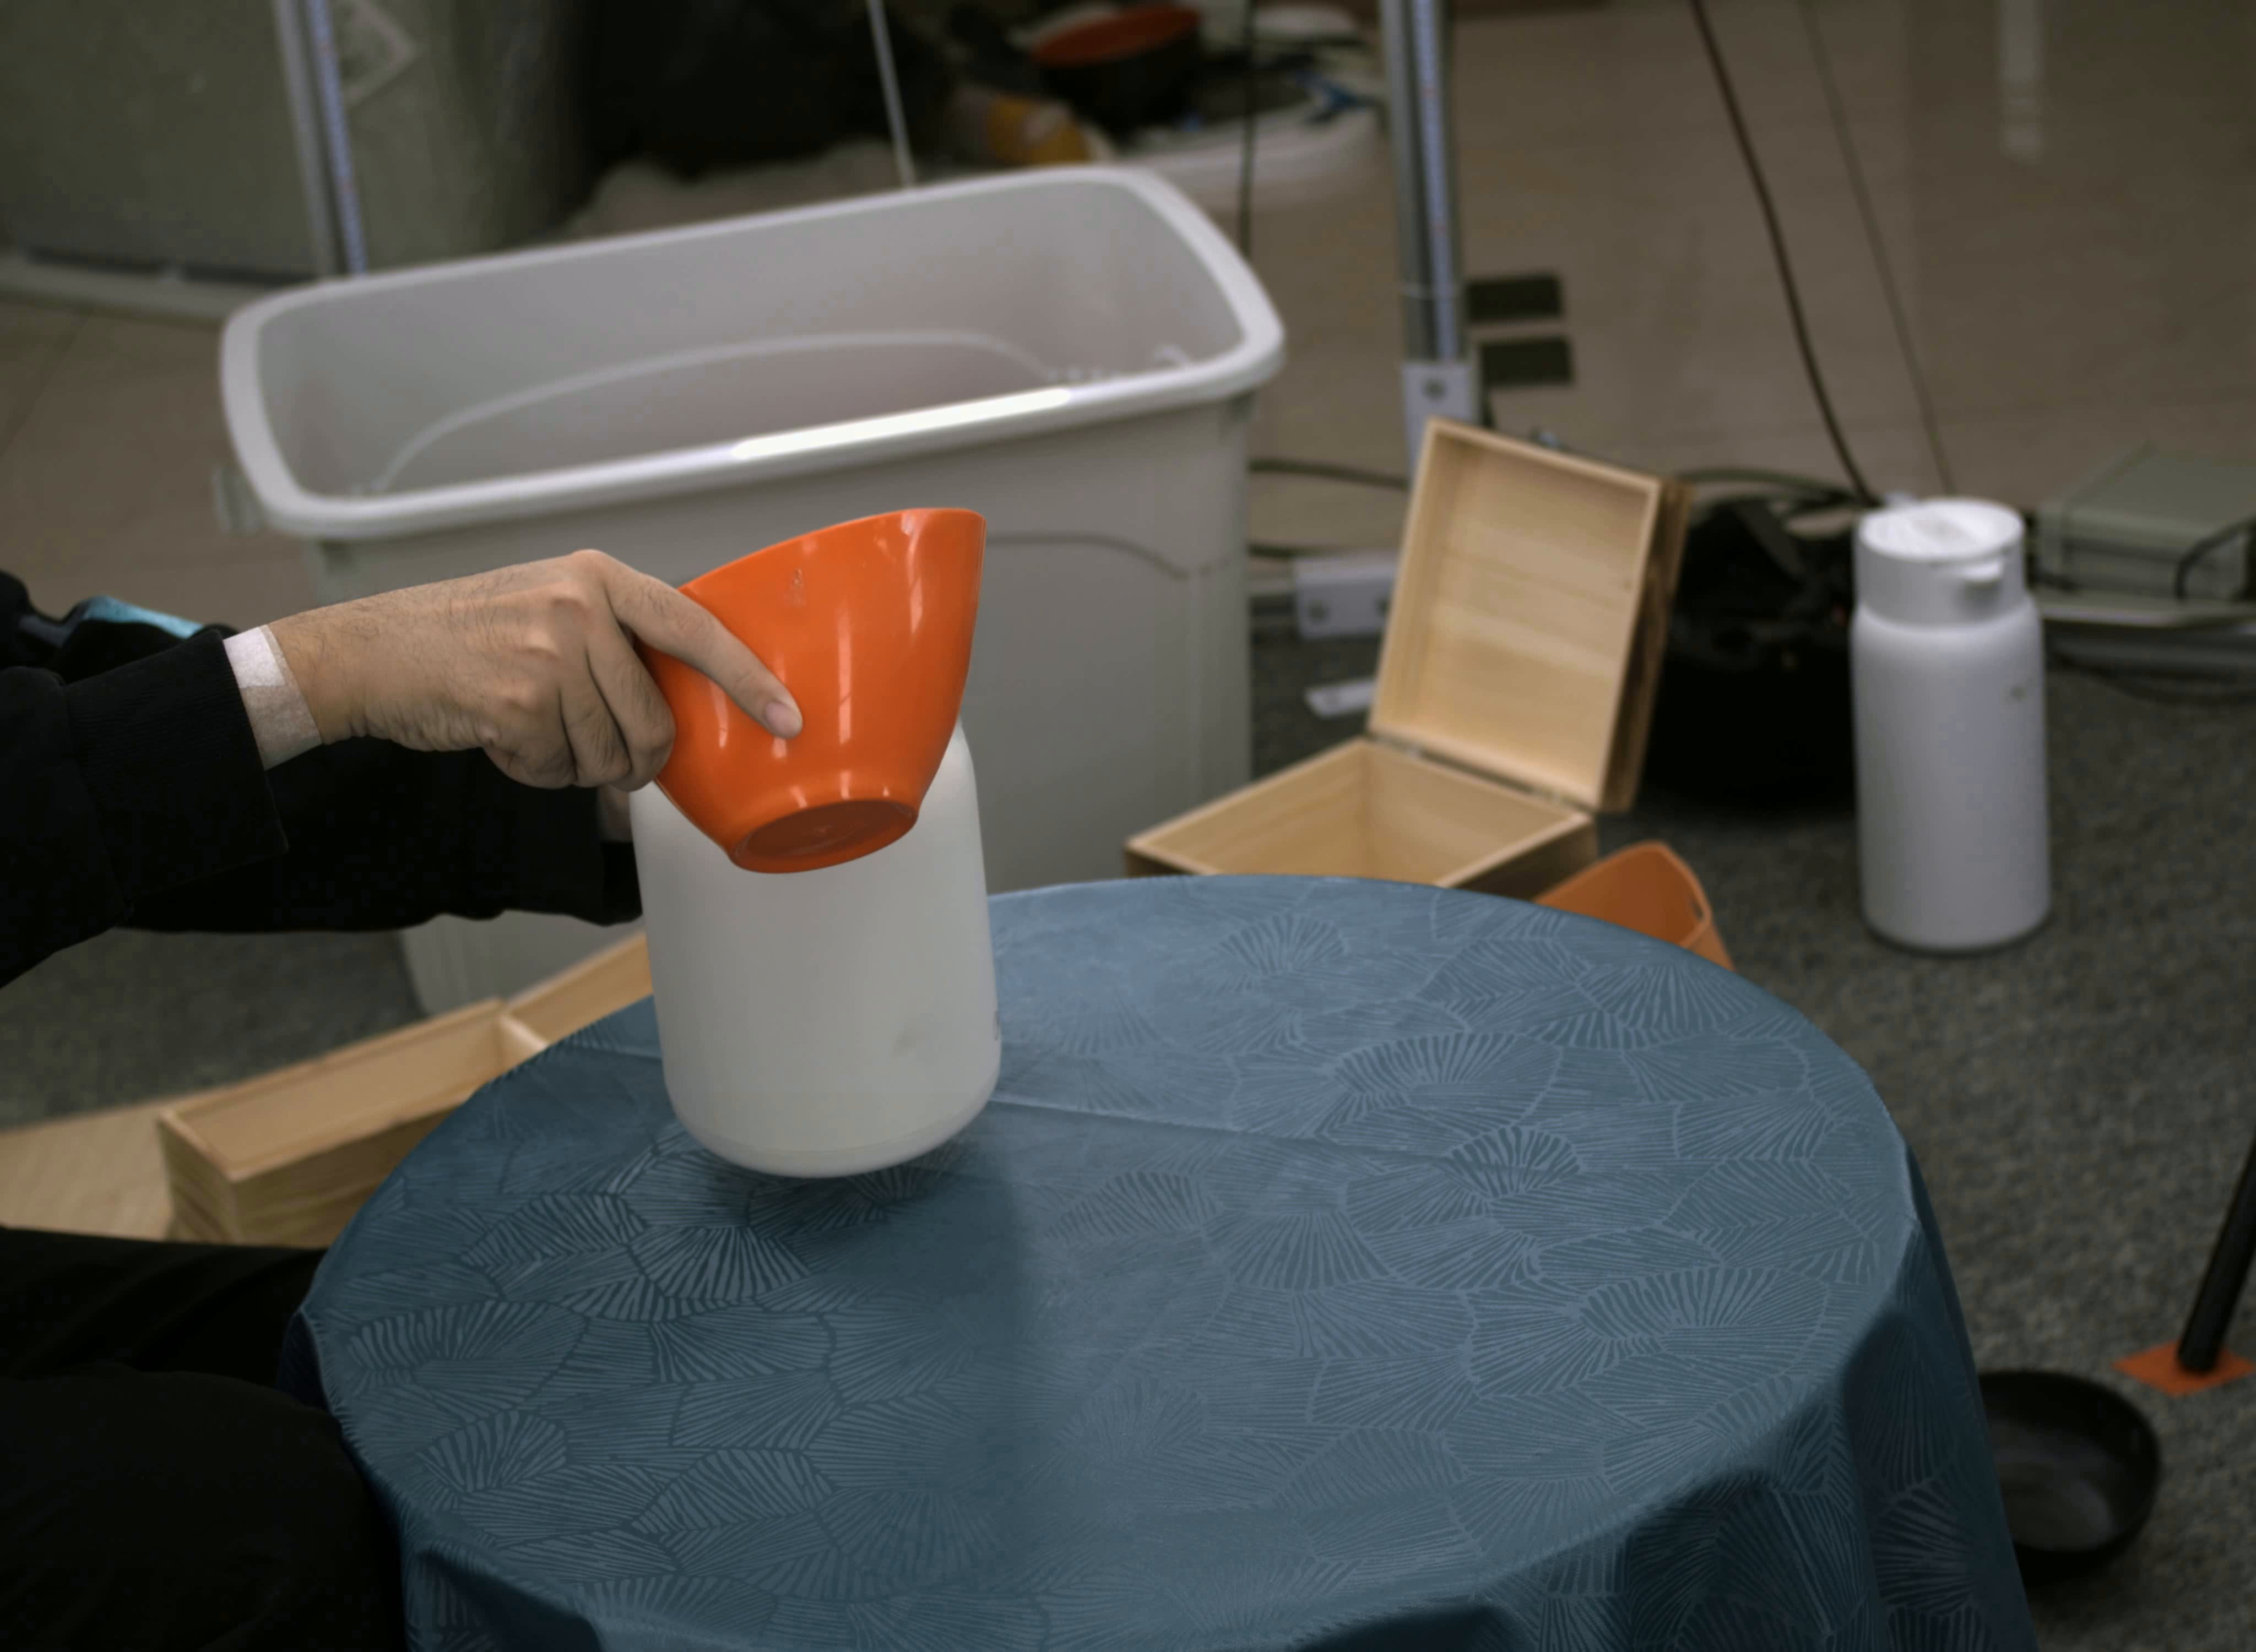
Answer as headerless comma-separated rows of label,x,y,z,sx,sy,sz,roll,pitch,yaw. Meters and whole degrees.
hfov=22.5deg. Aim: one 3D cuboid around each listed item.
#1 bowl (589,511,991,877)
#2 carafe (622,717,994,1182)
bowl,-0.108,-0.042,1.964,0.148,0.104,0.149,-13,-17,-4
carafe,-0.122,0.019,2.169,0.132,0.186,0.188,-4,30,-1
